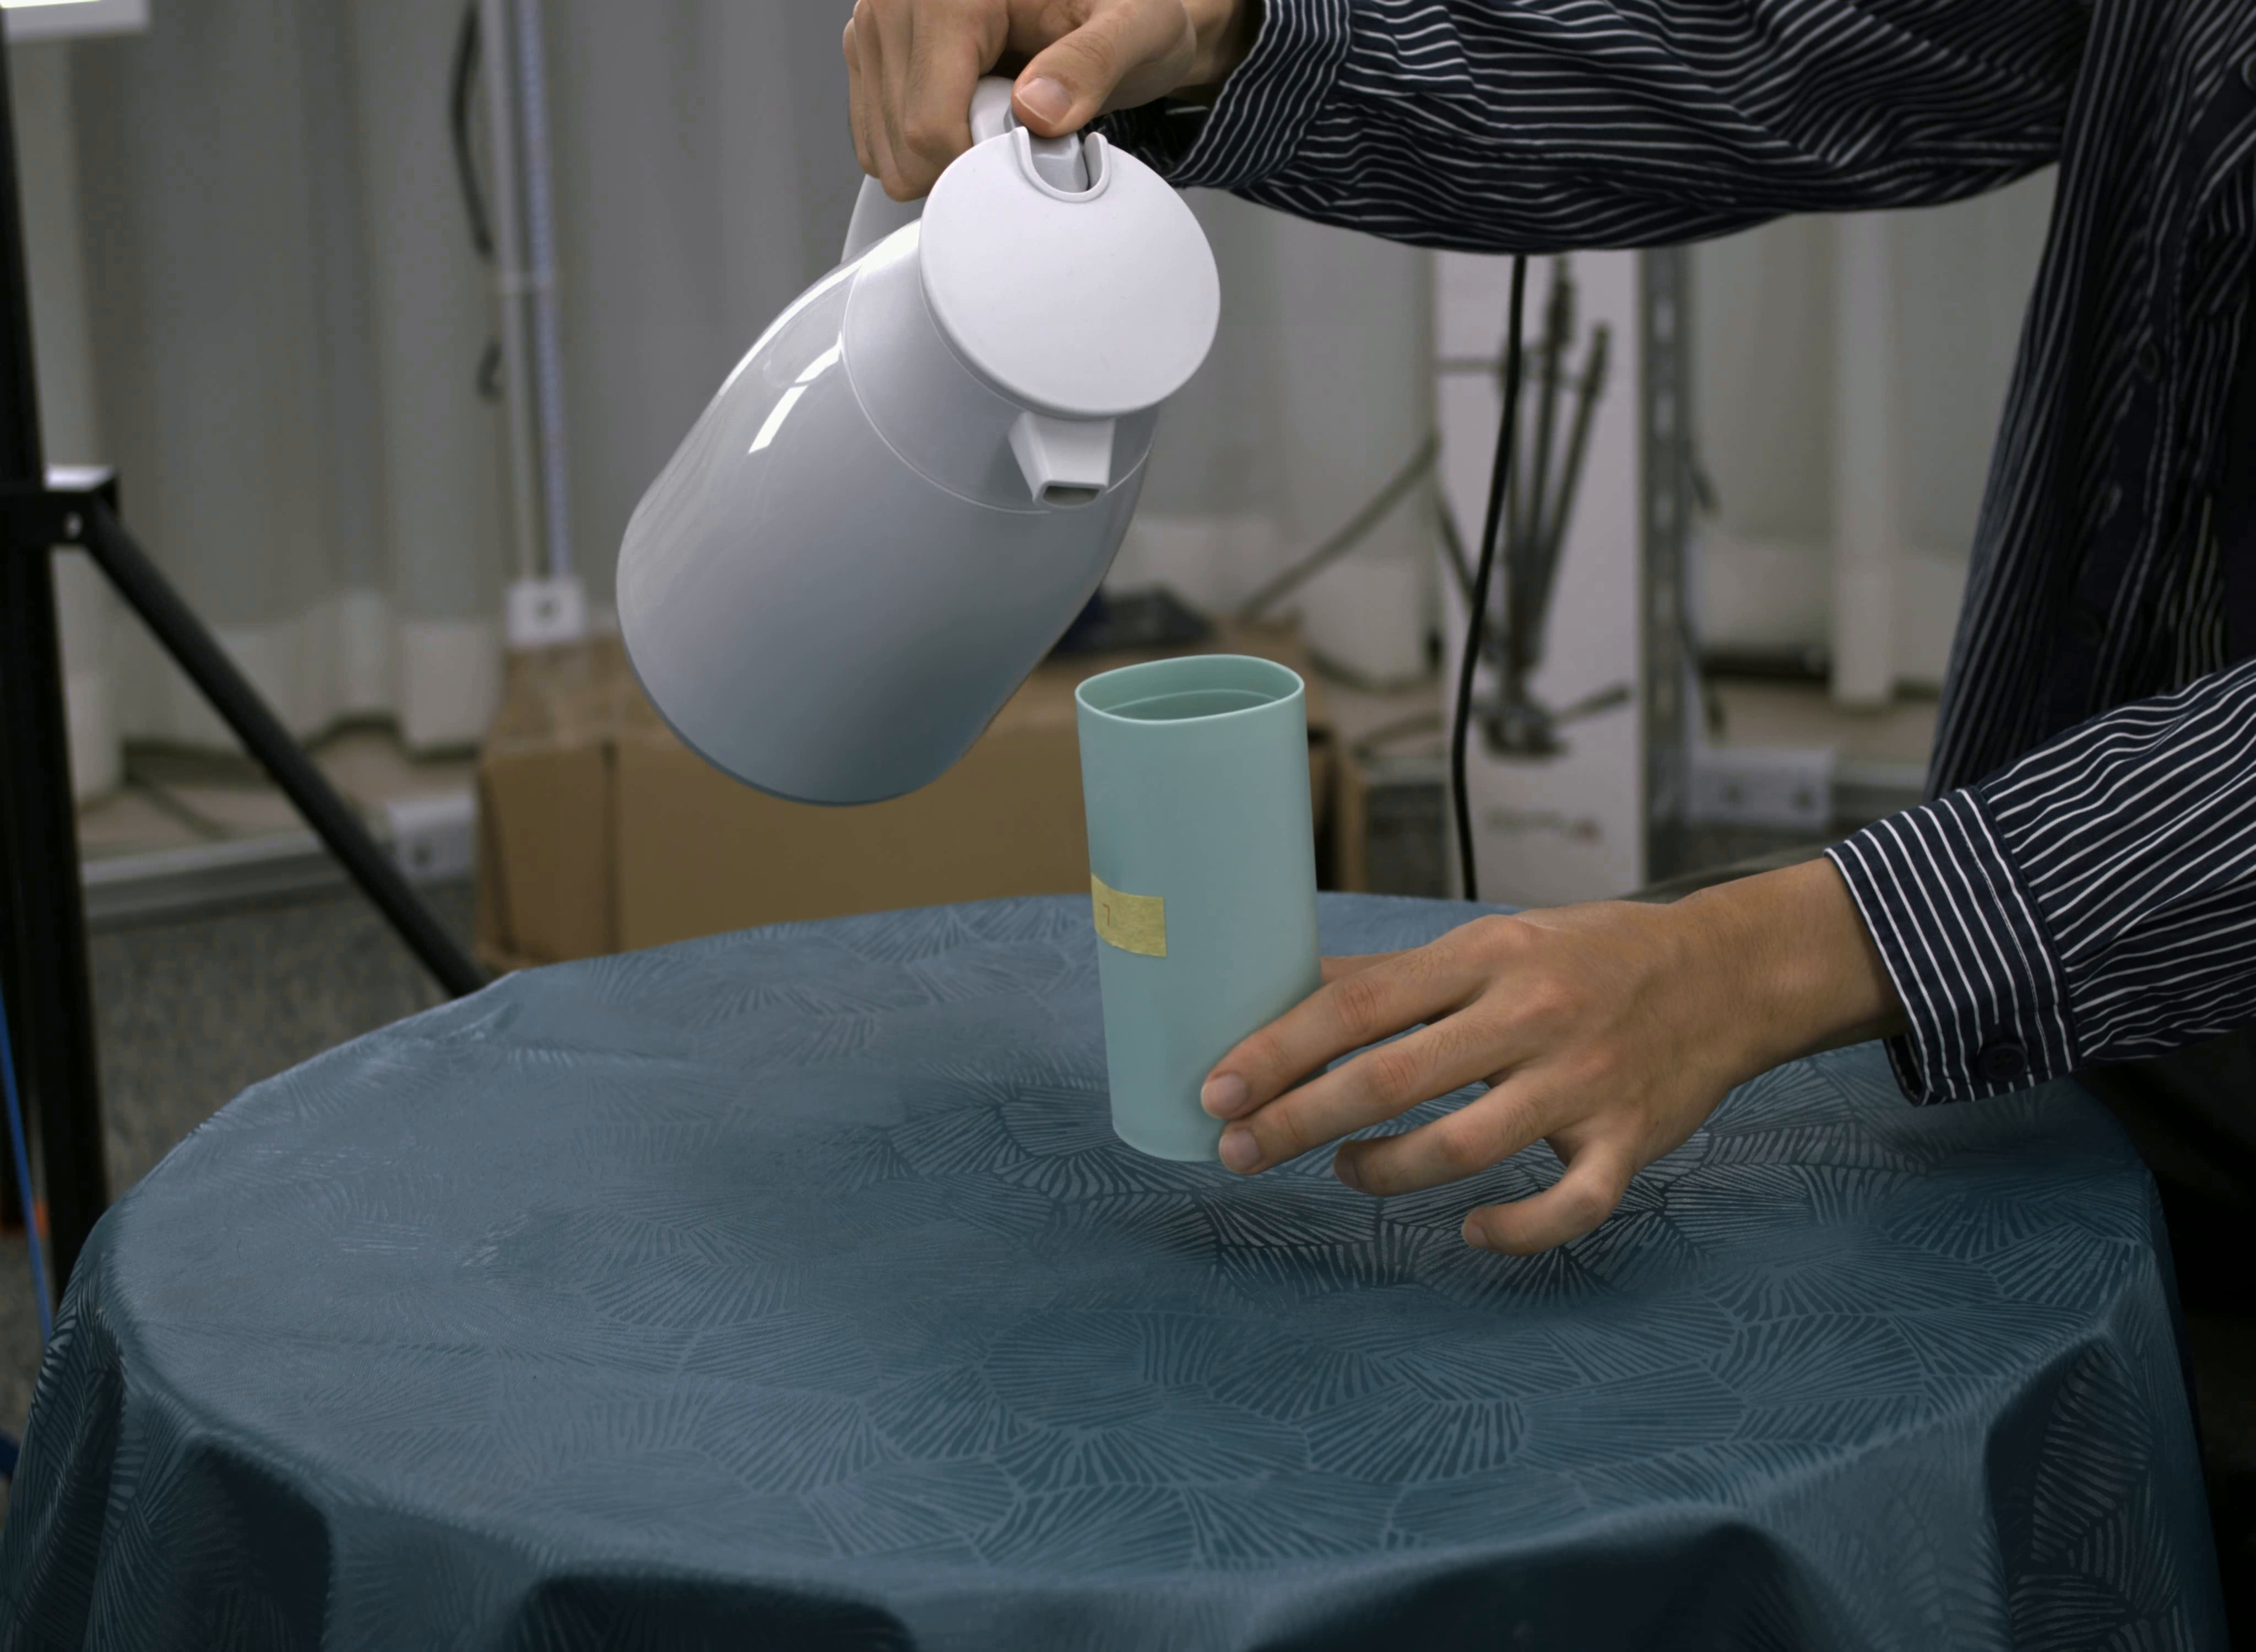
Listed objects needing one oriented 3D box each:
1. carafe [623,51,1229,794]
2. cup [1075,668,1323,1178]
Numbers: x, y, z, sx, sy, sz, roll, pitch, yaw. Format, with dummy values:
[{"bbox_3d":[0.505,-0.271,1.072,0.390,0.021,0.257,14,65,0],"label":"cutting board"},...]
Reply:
[{"bbox_3d":[-0.059,-0.135,1.611,0.130,0.170,0.250,0,-23,-22],"label":"carafe"},{"bbox_3d":[0.022,0.026,1.506,0.066,0.132,0.067,-4,16,0],"label":"cup"}]
